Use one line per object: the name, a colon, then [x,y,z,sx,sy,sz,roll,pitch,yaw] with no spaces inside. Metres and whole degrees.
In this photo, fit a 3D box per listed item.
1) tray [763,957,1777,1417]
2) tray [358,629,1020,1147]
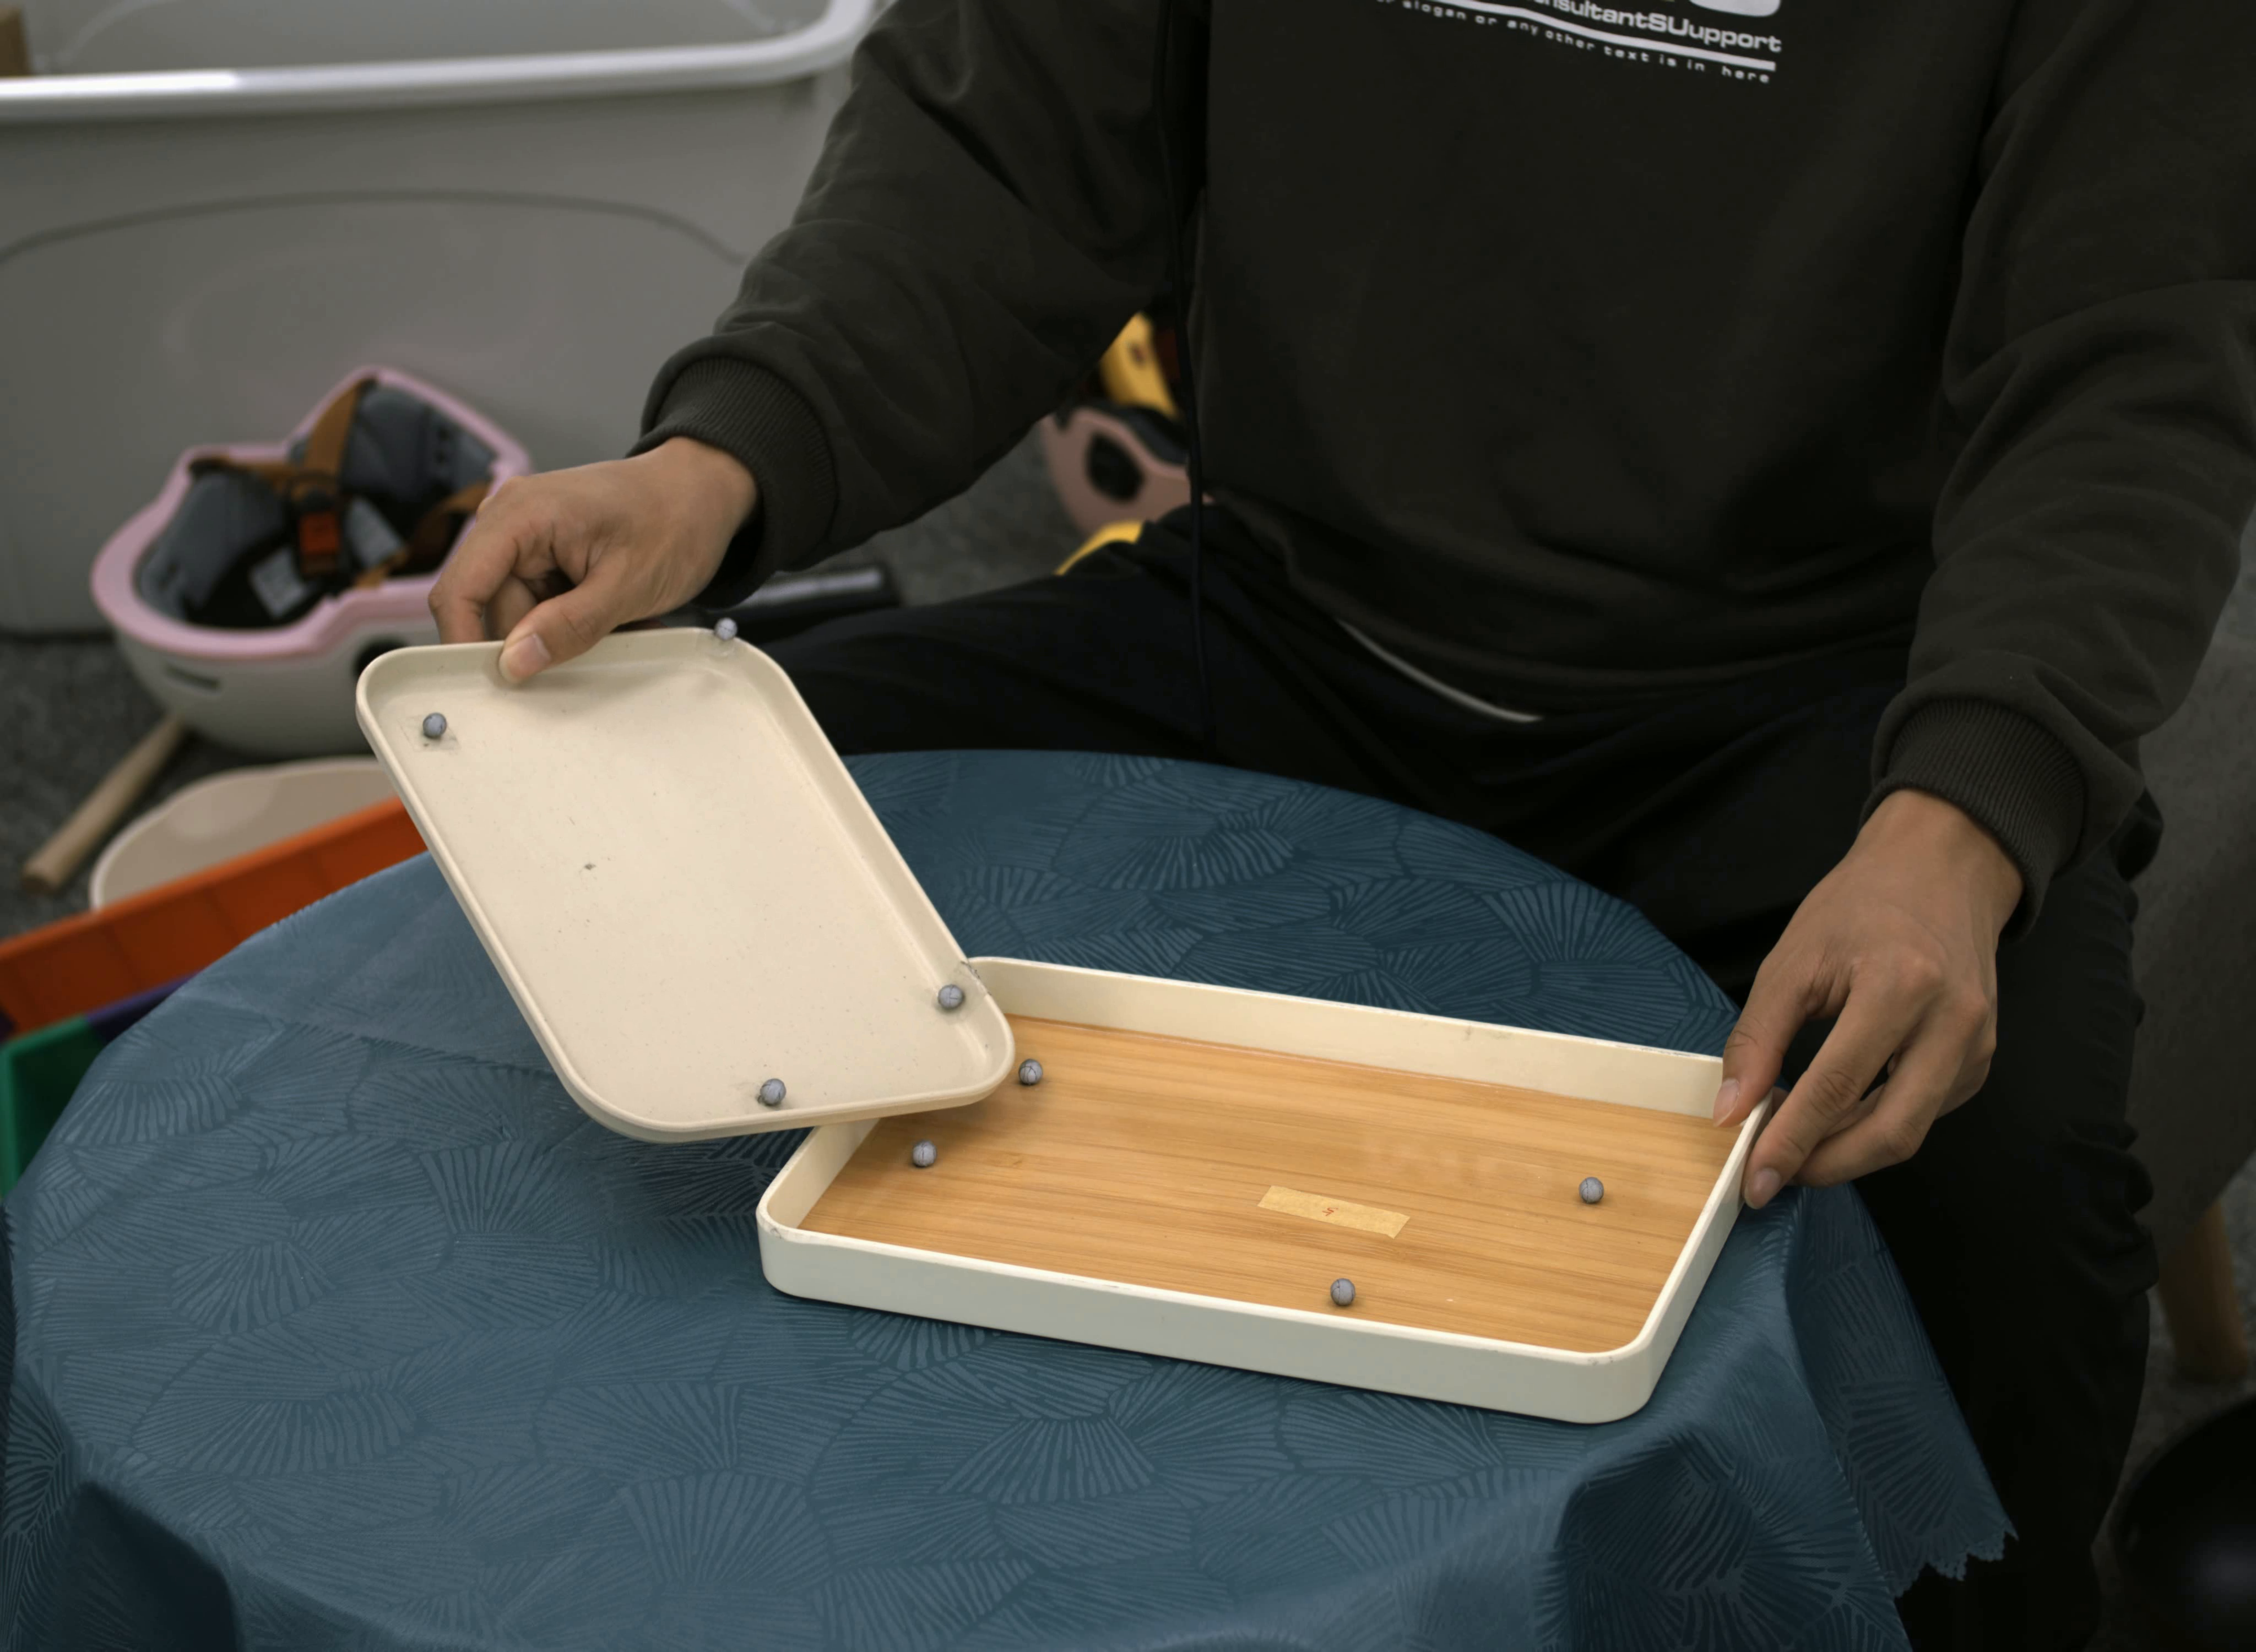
tray: [0.048,0.115,1.846,0.298,0.027,0.195,7,29,18]
tray: [-0.152,0.020,1.920,0.172,0.017,0.242,-5,45,-33]
